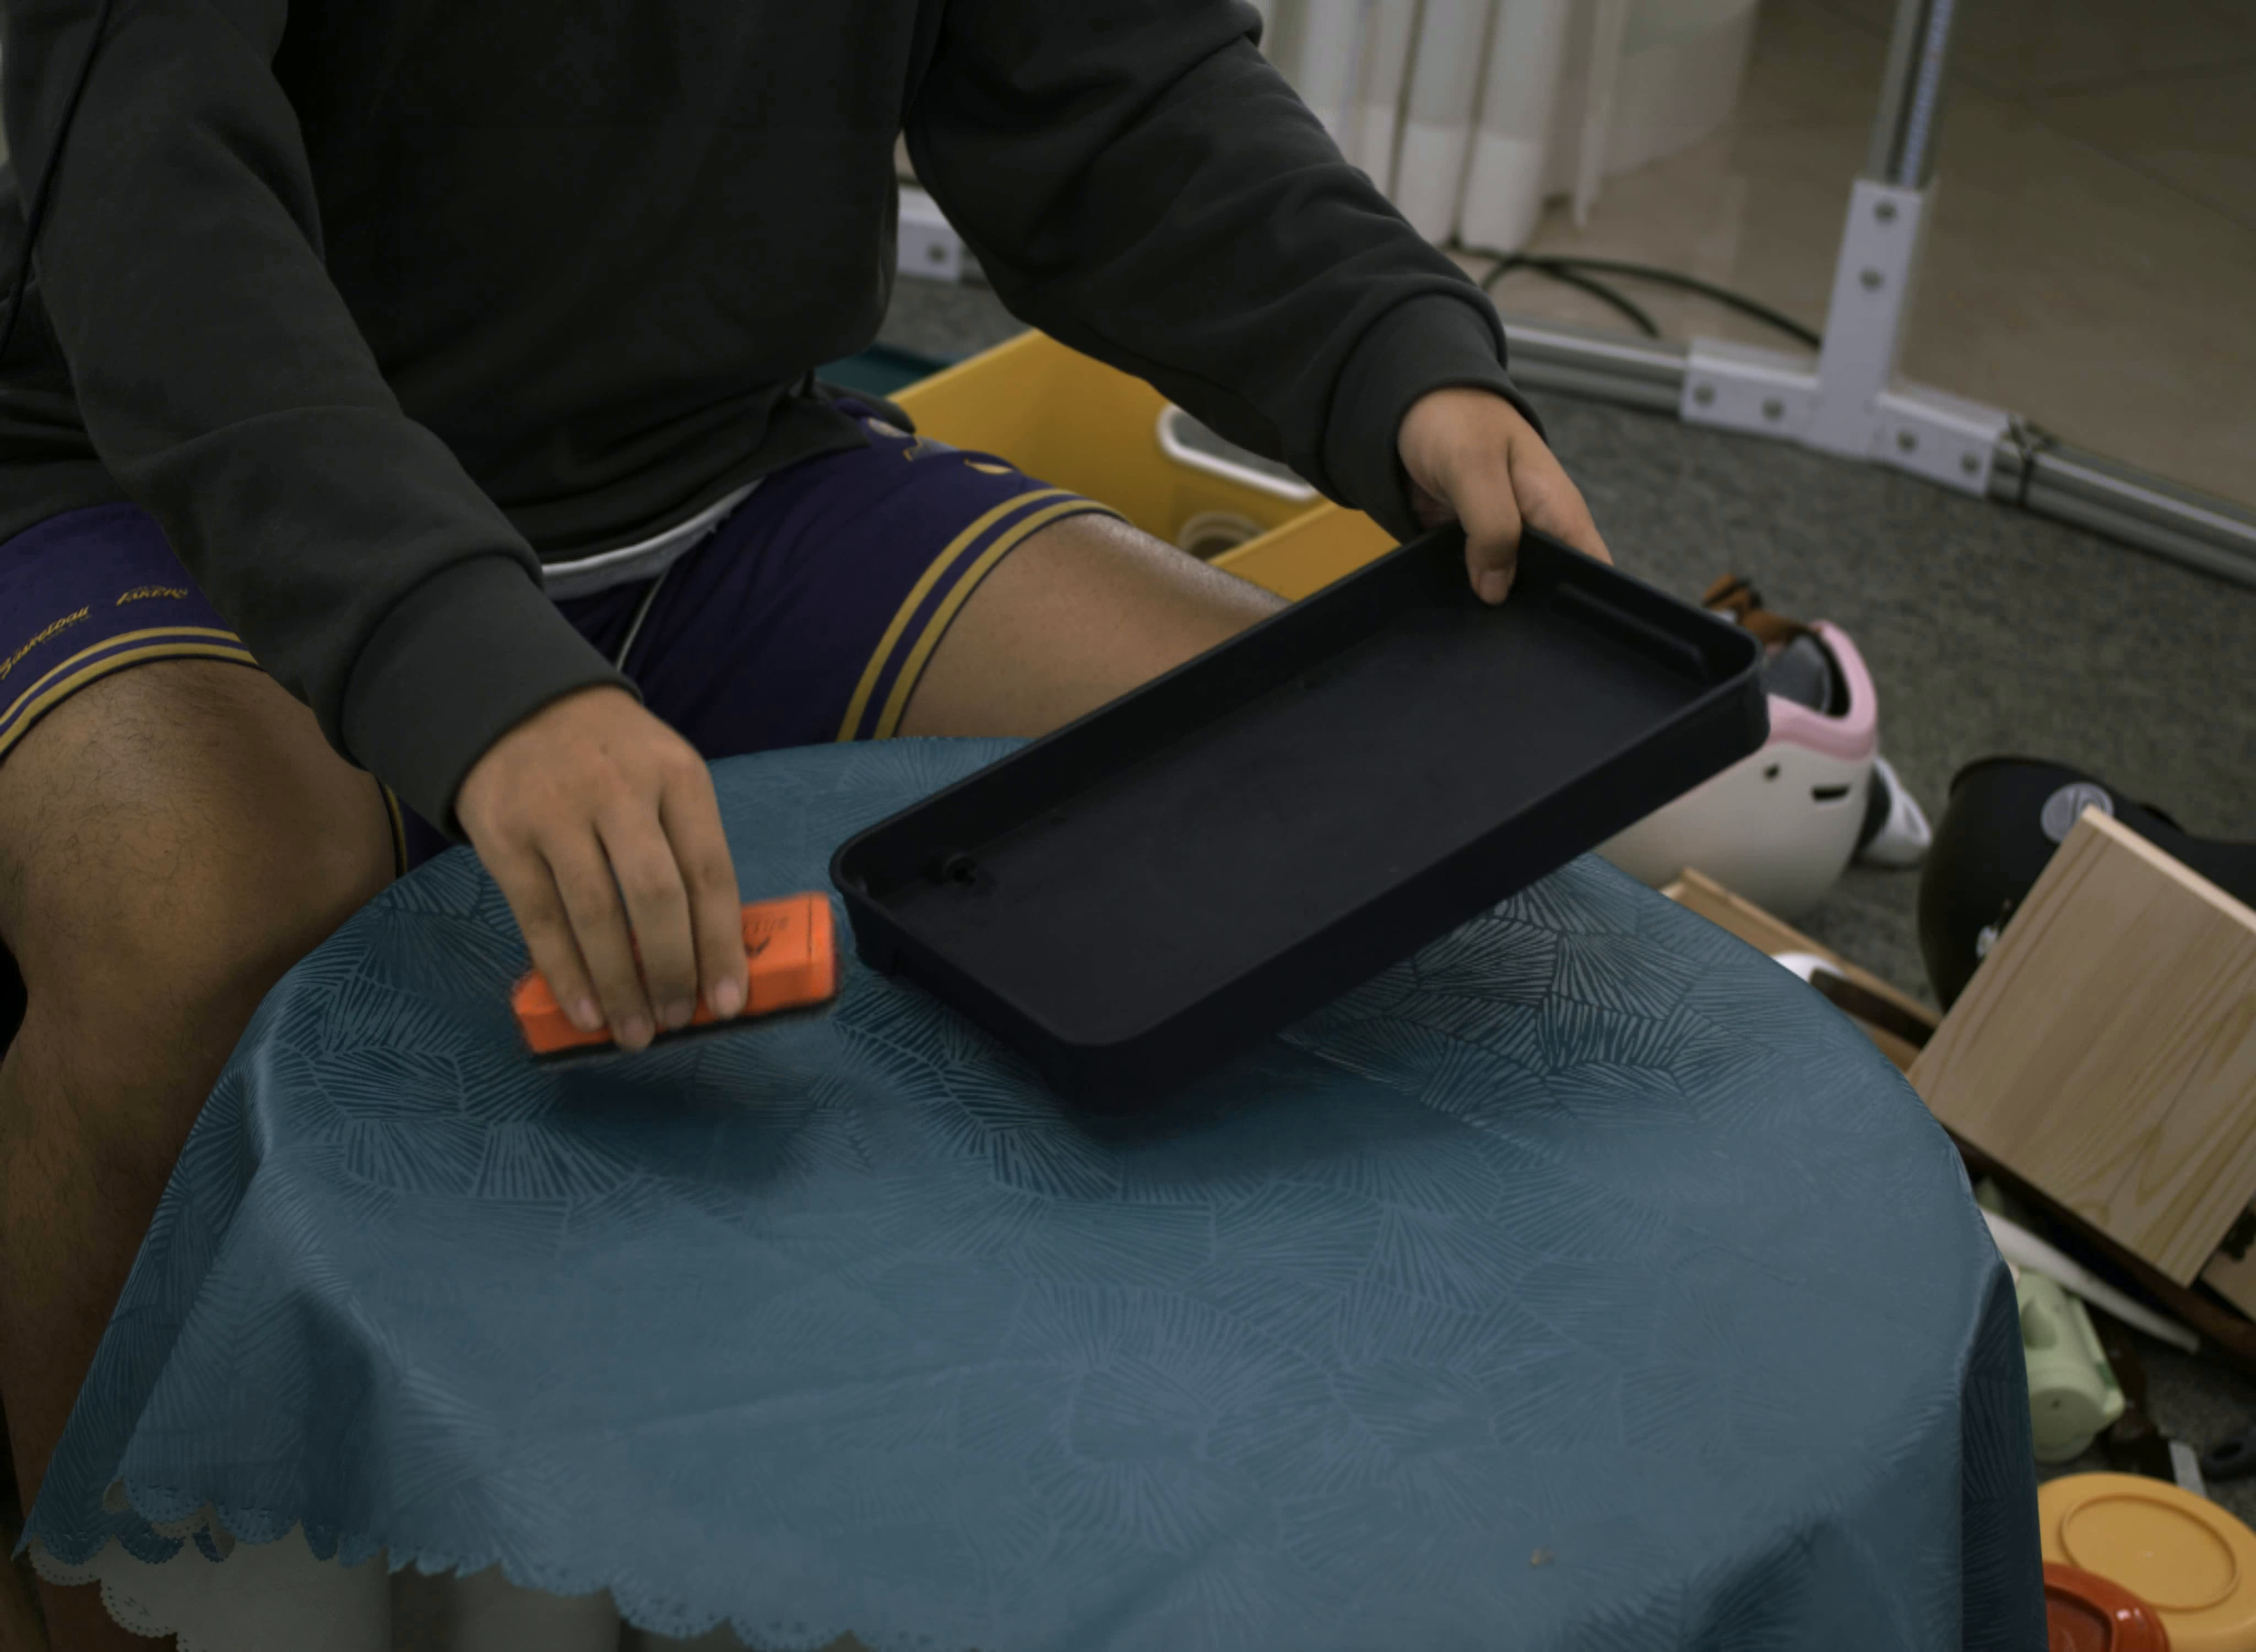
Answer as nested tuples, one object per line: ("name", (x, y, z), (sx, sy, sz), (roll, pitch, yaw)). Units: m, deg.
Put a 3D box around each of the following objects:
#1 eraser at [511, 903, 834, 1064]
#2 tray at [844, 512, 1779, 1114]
("eraser", (-0.154, 0.053, 1.811), (0.108, 0.023, 0.059), (-11, 16, 1))
("tray", (0.069, -0.011, 1.930), (0.317, 0.037, 0.186), (-30, 35, -25))
